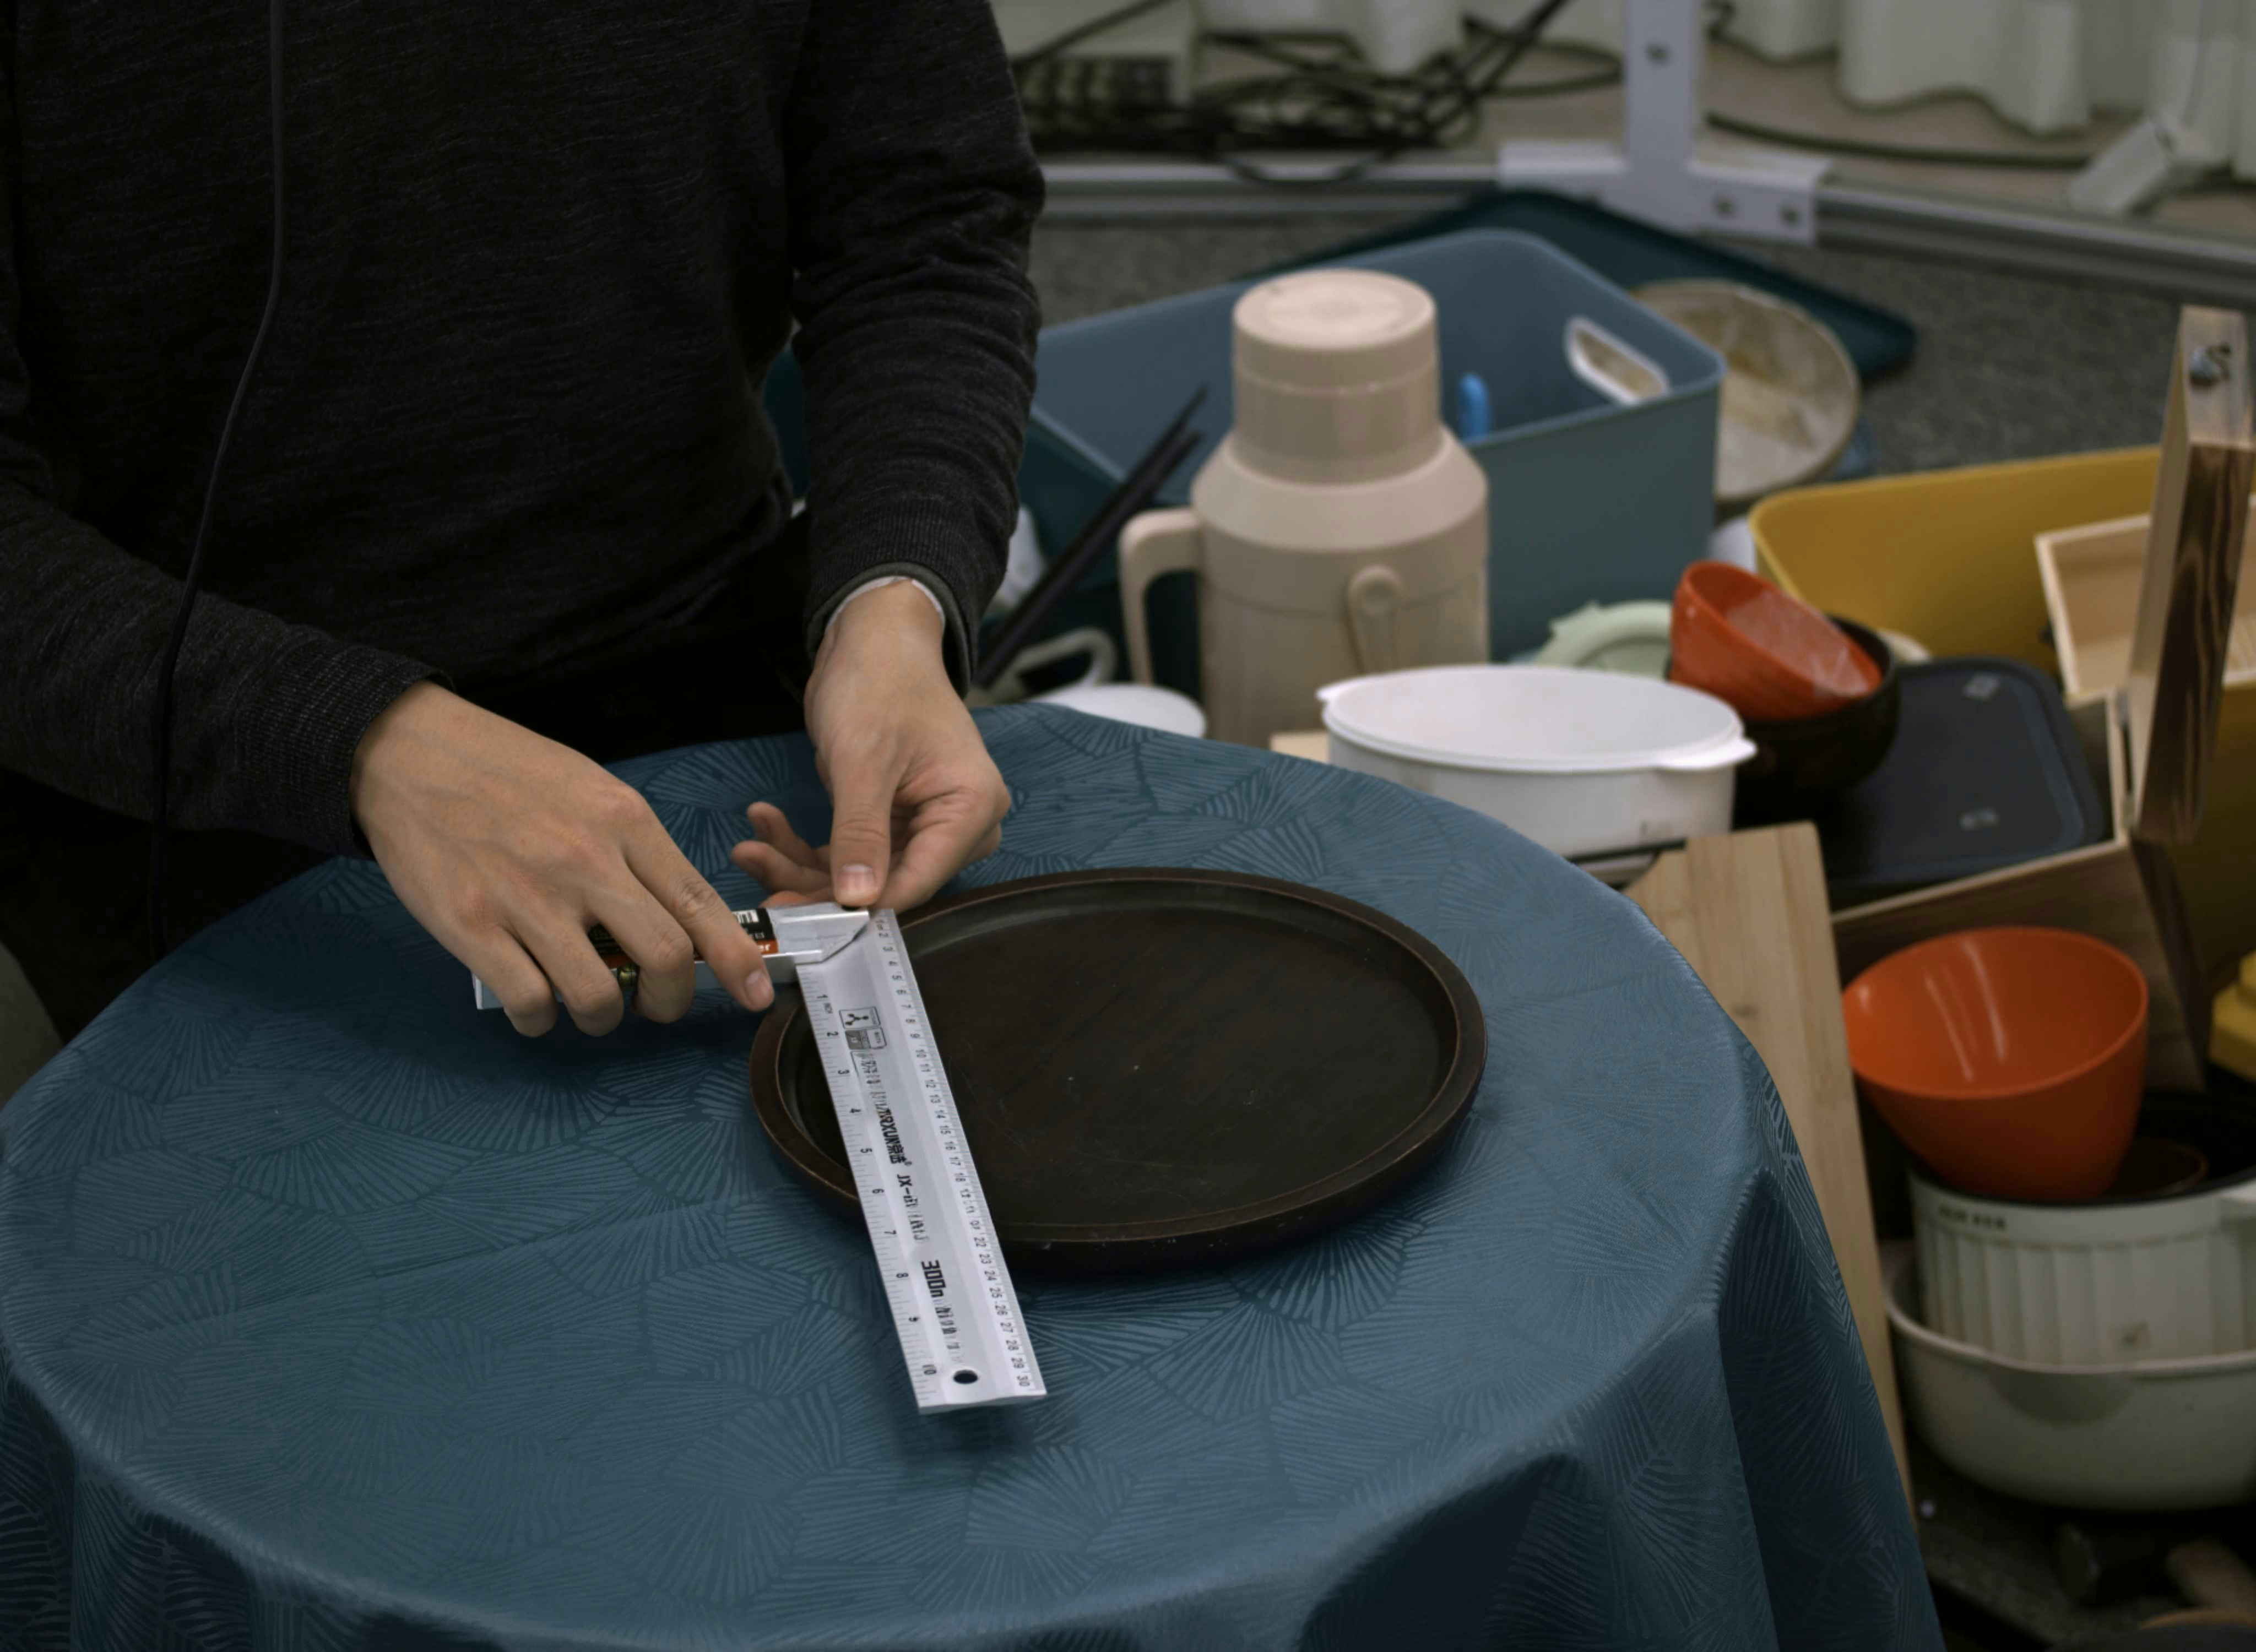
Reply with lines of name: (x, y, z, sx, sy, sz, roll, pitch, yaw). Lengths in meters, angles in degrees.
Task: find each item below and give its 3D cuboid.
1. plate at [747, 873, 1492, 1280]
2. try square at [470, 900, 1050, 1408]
plate: (-0.003, 0.083, 1.911, 0.253, 0.029, 0.259, -2, 29, 2)
try square: (-0.127, 0.108, 1.842, 0.152, 0.016, 0.317, -5, 28, -10)
